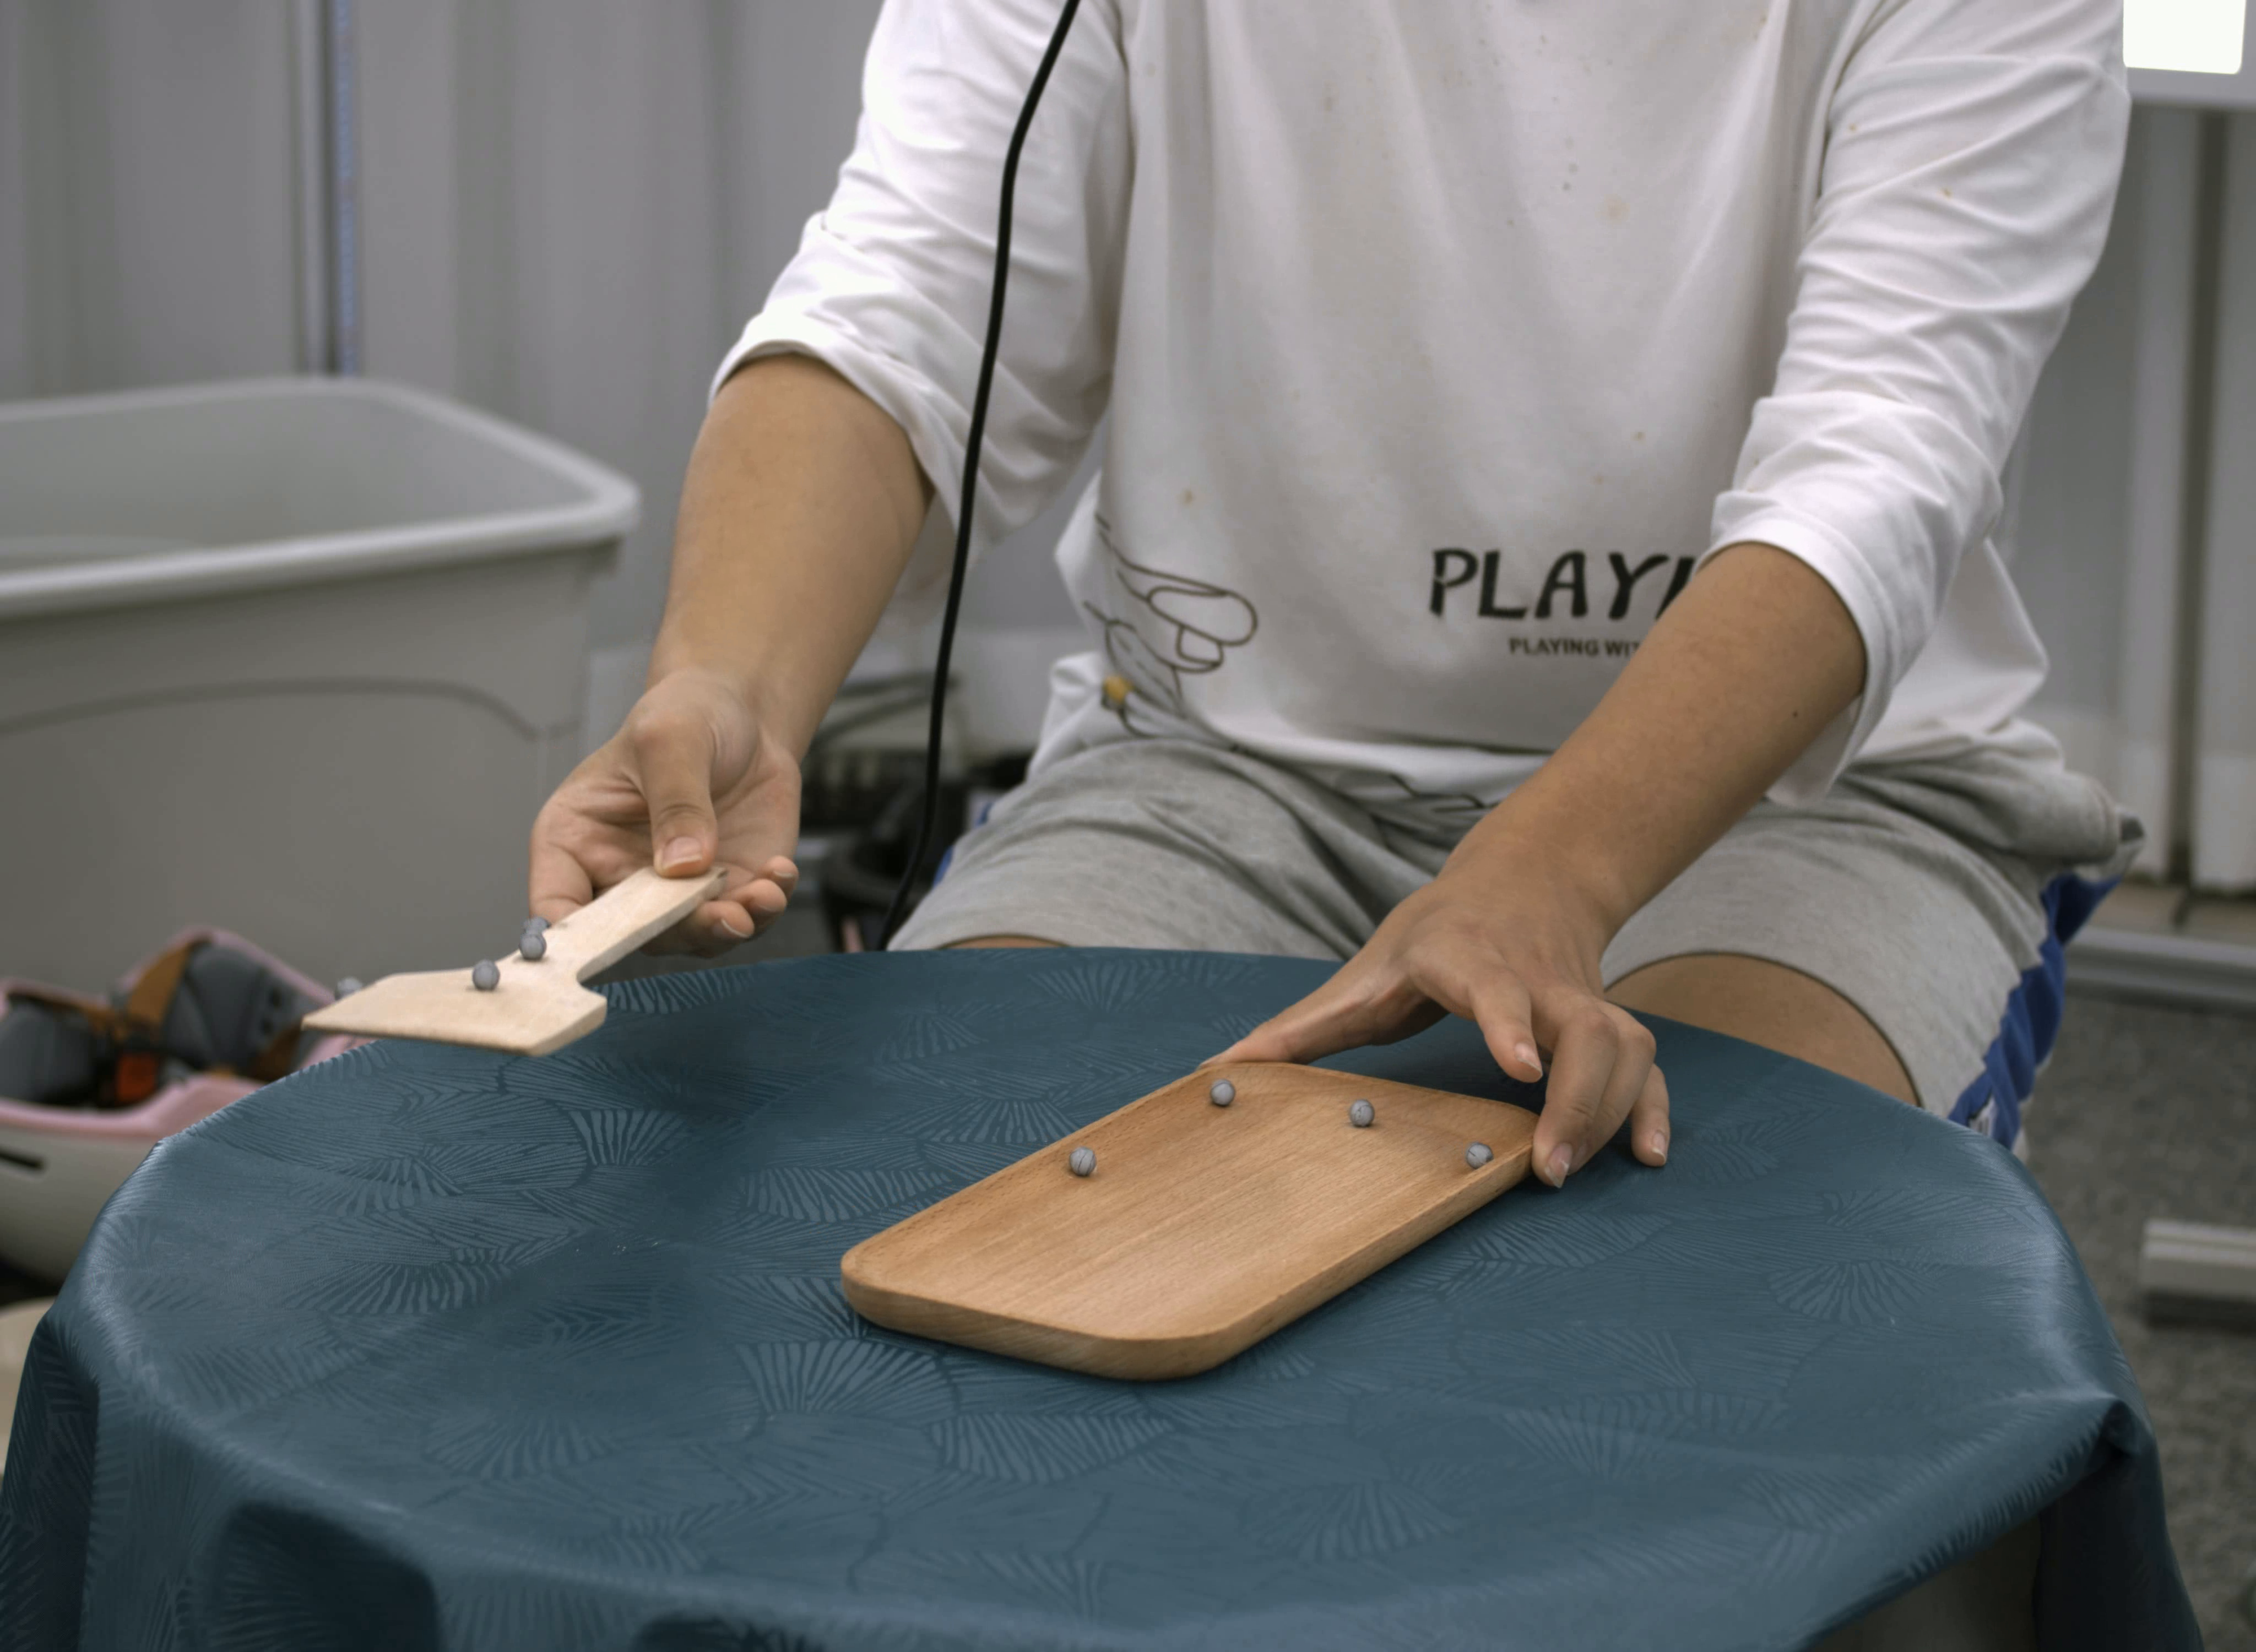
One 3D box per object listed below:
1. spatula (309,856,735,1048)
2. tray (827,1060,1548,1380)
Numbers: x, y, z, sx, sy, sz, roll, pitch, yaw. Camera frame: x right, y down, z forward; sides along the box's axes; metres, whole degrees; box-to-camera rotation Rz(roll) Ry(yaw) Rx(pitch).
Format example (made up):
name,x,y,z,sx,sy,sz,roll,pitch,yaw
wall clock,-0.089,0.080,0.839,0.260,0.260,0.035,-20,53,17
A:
name,x,y,z,sx,sy,sz,roll,pitch,yaw
spatula,-0.171,0.036,1.609,0.072,0.011,0.293,5,10,10
tray,0.022,0.116,1.589,0.129,0.023,0.251,8,17,32
